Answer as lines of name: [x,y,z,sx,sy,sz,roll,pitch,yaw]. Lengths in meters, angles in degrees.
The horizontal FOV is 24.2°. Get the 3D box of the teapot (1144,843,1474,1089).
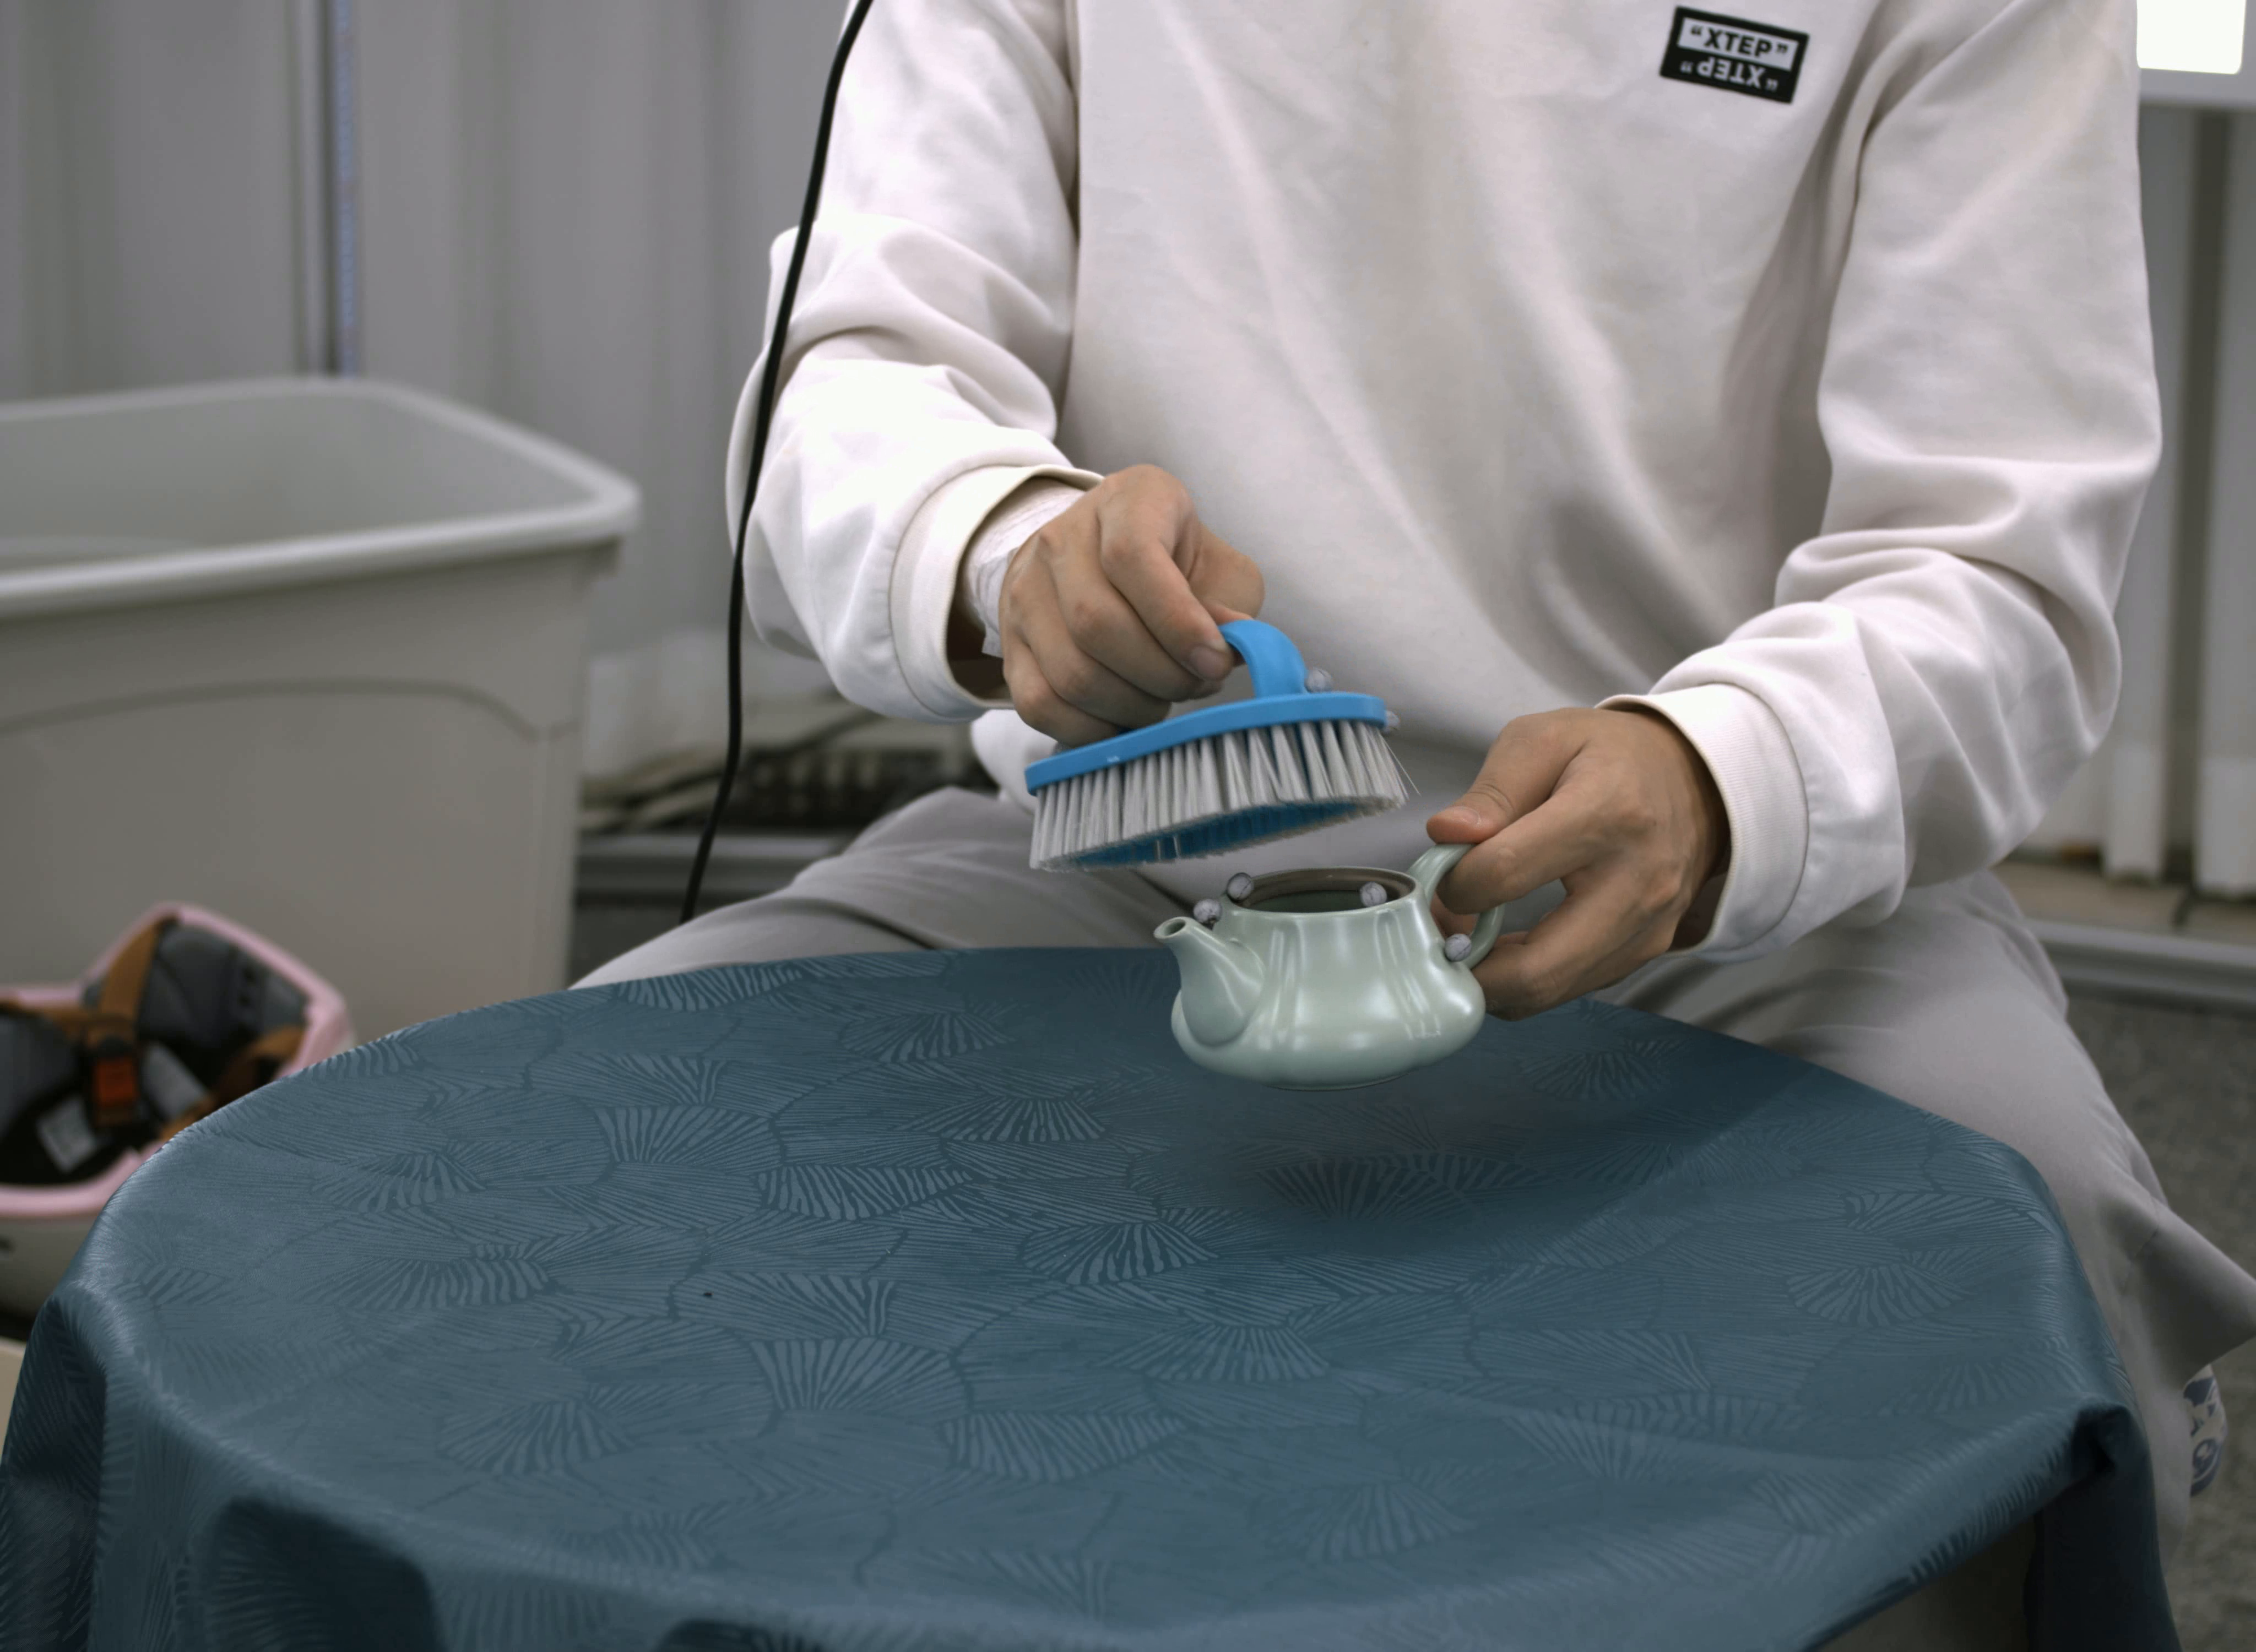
teapot: [0.058,0.045,1.623,0.137,0.062,0.095,-14,13,-40]

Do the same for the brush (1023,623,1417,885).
brush: [0.023,-0.026,1.632,0.085,0.064,0.141,-9,-6,-41]
